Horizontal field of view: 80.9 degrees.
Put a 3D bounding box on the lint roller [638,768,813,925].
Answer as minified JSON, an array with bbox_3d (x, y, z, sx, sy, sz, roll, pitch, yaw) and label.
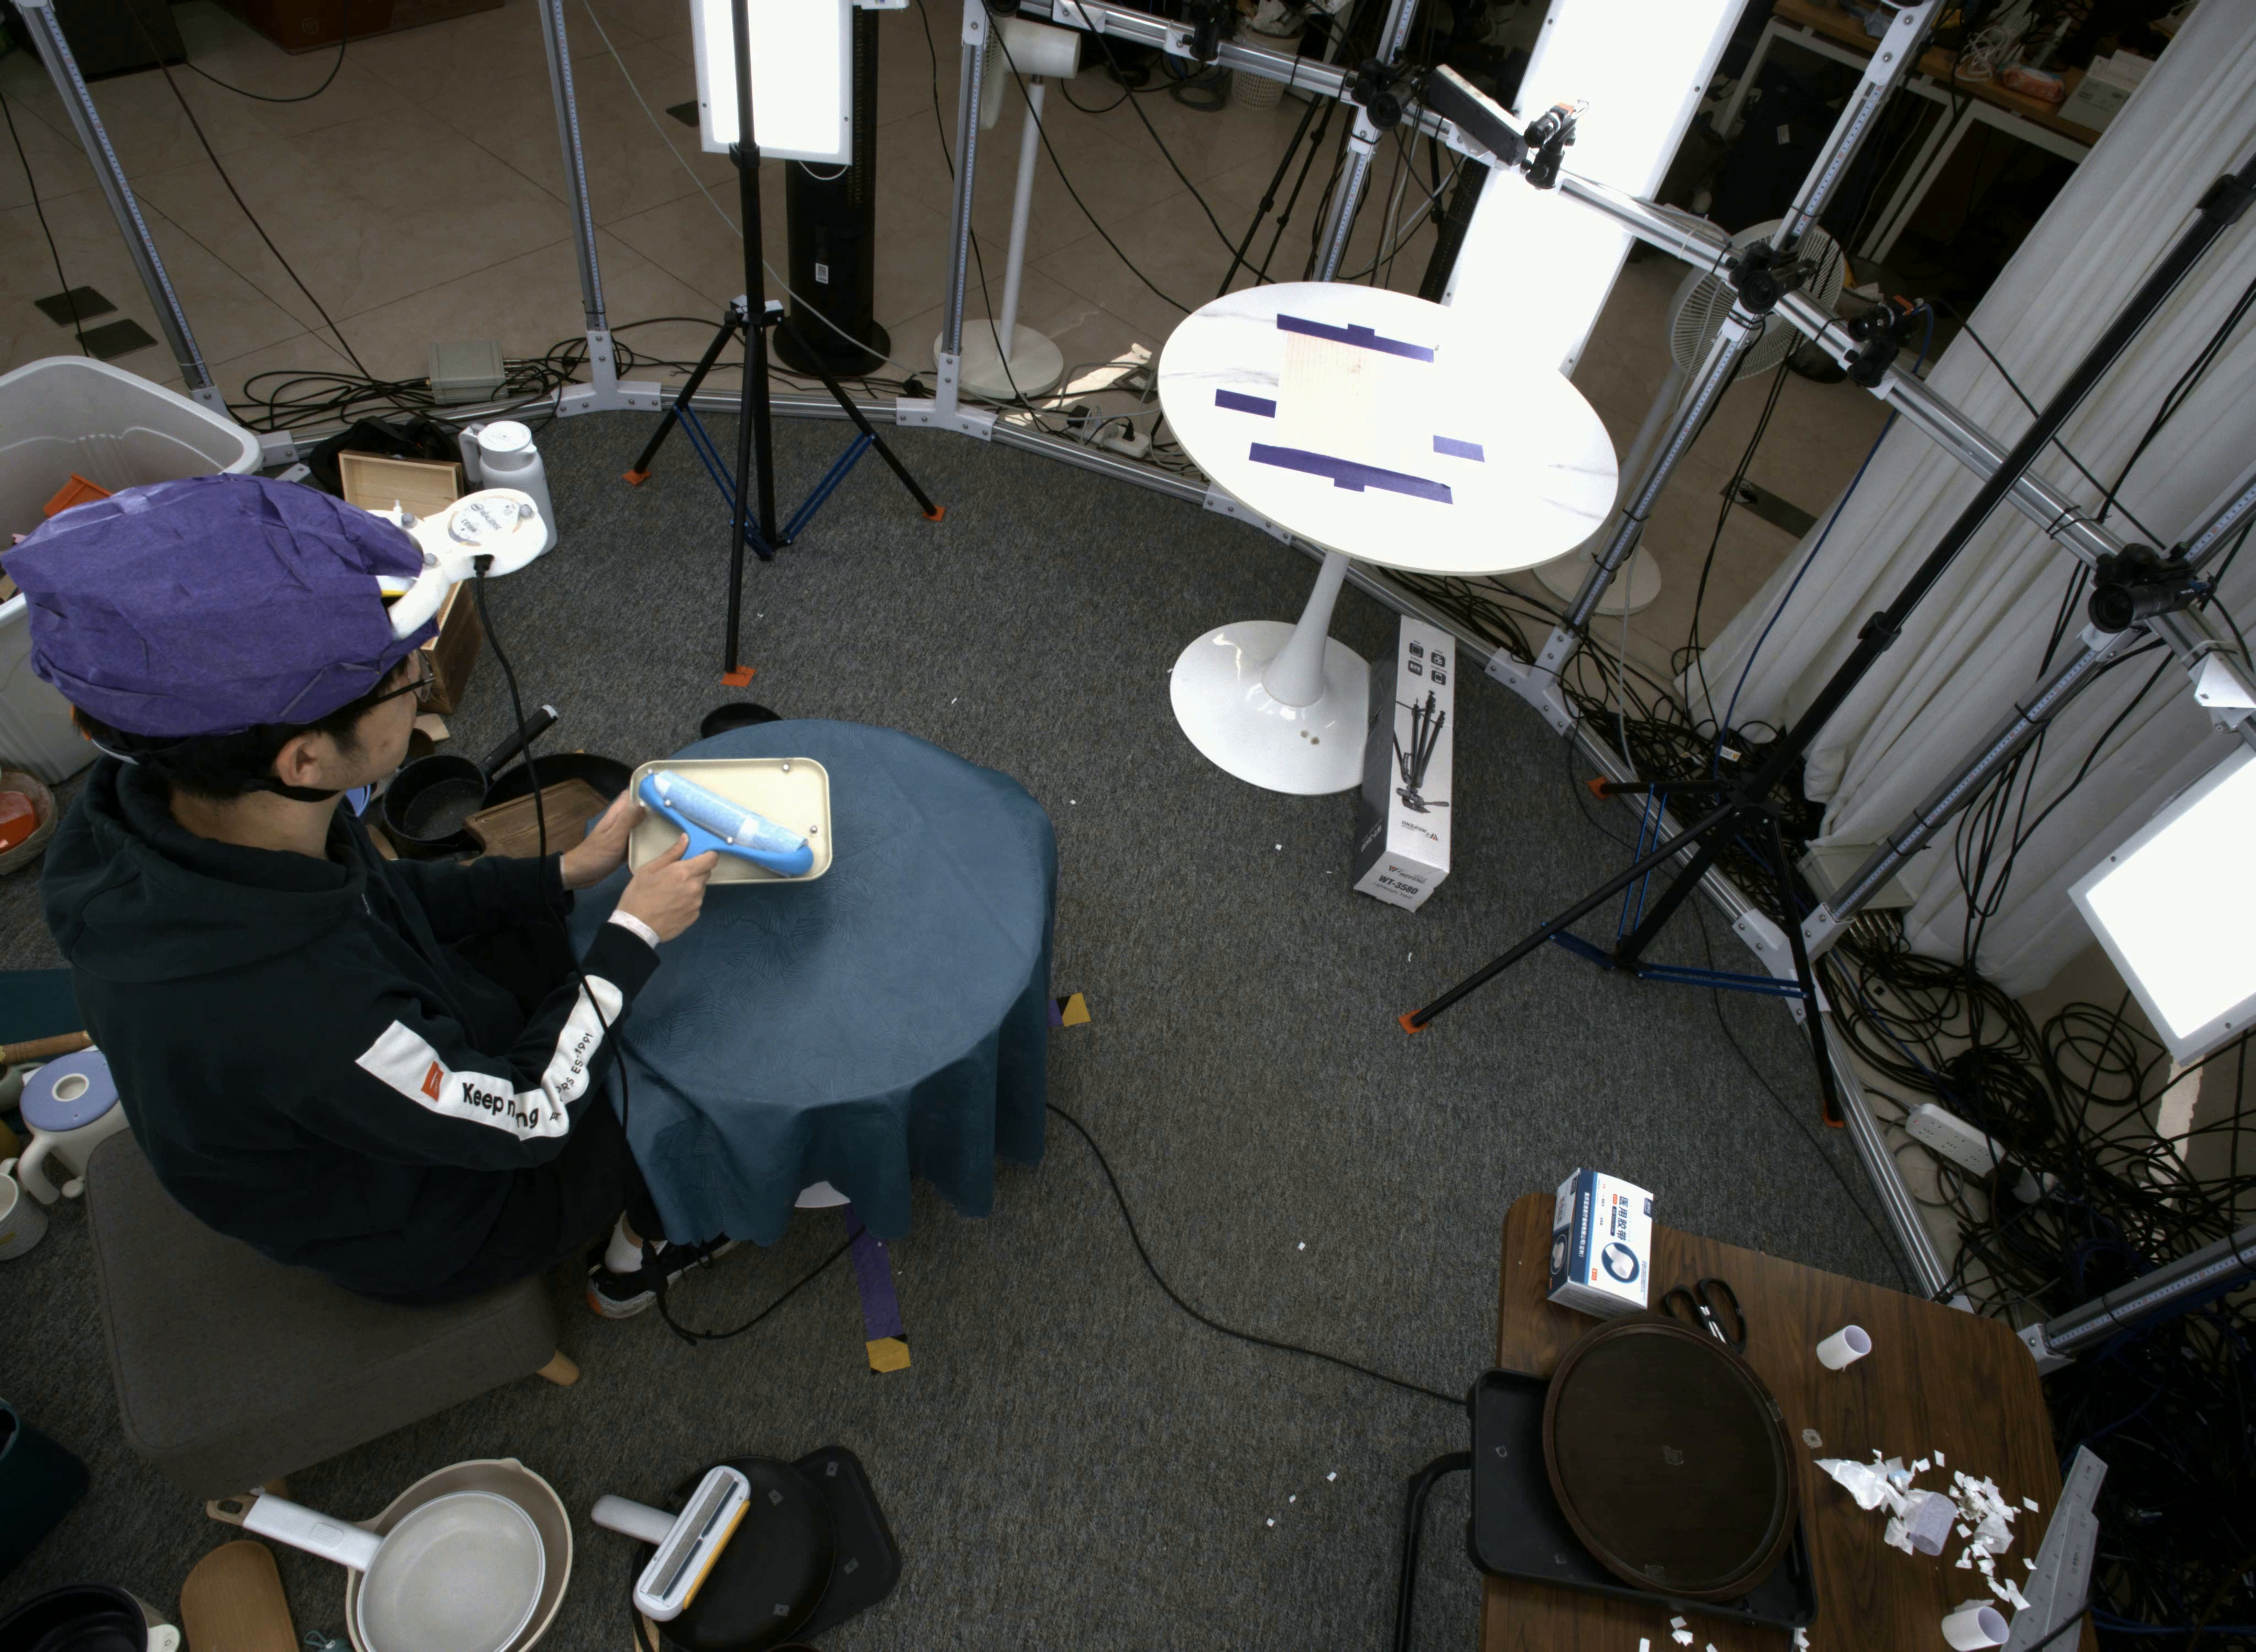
[{"bbox_3d":[-0.503,0.032,1.521,0.228,0.069,0.178,25,48,-5],"label":"lint roller"}]

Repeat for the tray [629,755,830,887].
[{"bbox_3d":[-0.489,-0.008,1.585,0.240,0.017,0.169,-1,67,-17],"label":"tray"}]
